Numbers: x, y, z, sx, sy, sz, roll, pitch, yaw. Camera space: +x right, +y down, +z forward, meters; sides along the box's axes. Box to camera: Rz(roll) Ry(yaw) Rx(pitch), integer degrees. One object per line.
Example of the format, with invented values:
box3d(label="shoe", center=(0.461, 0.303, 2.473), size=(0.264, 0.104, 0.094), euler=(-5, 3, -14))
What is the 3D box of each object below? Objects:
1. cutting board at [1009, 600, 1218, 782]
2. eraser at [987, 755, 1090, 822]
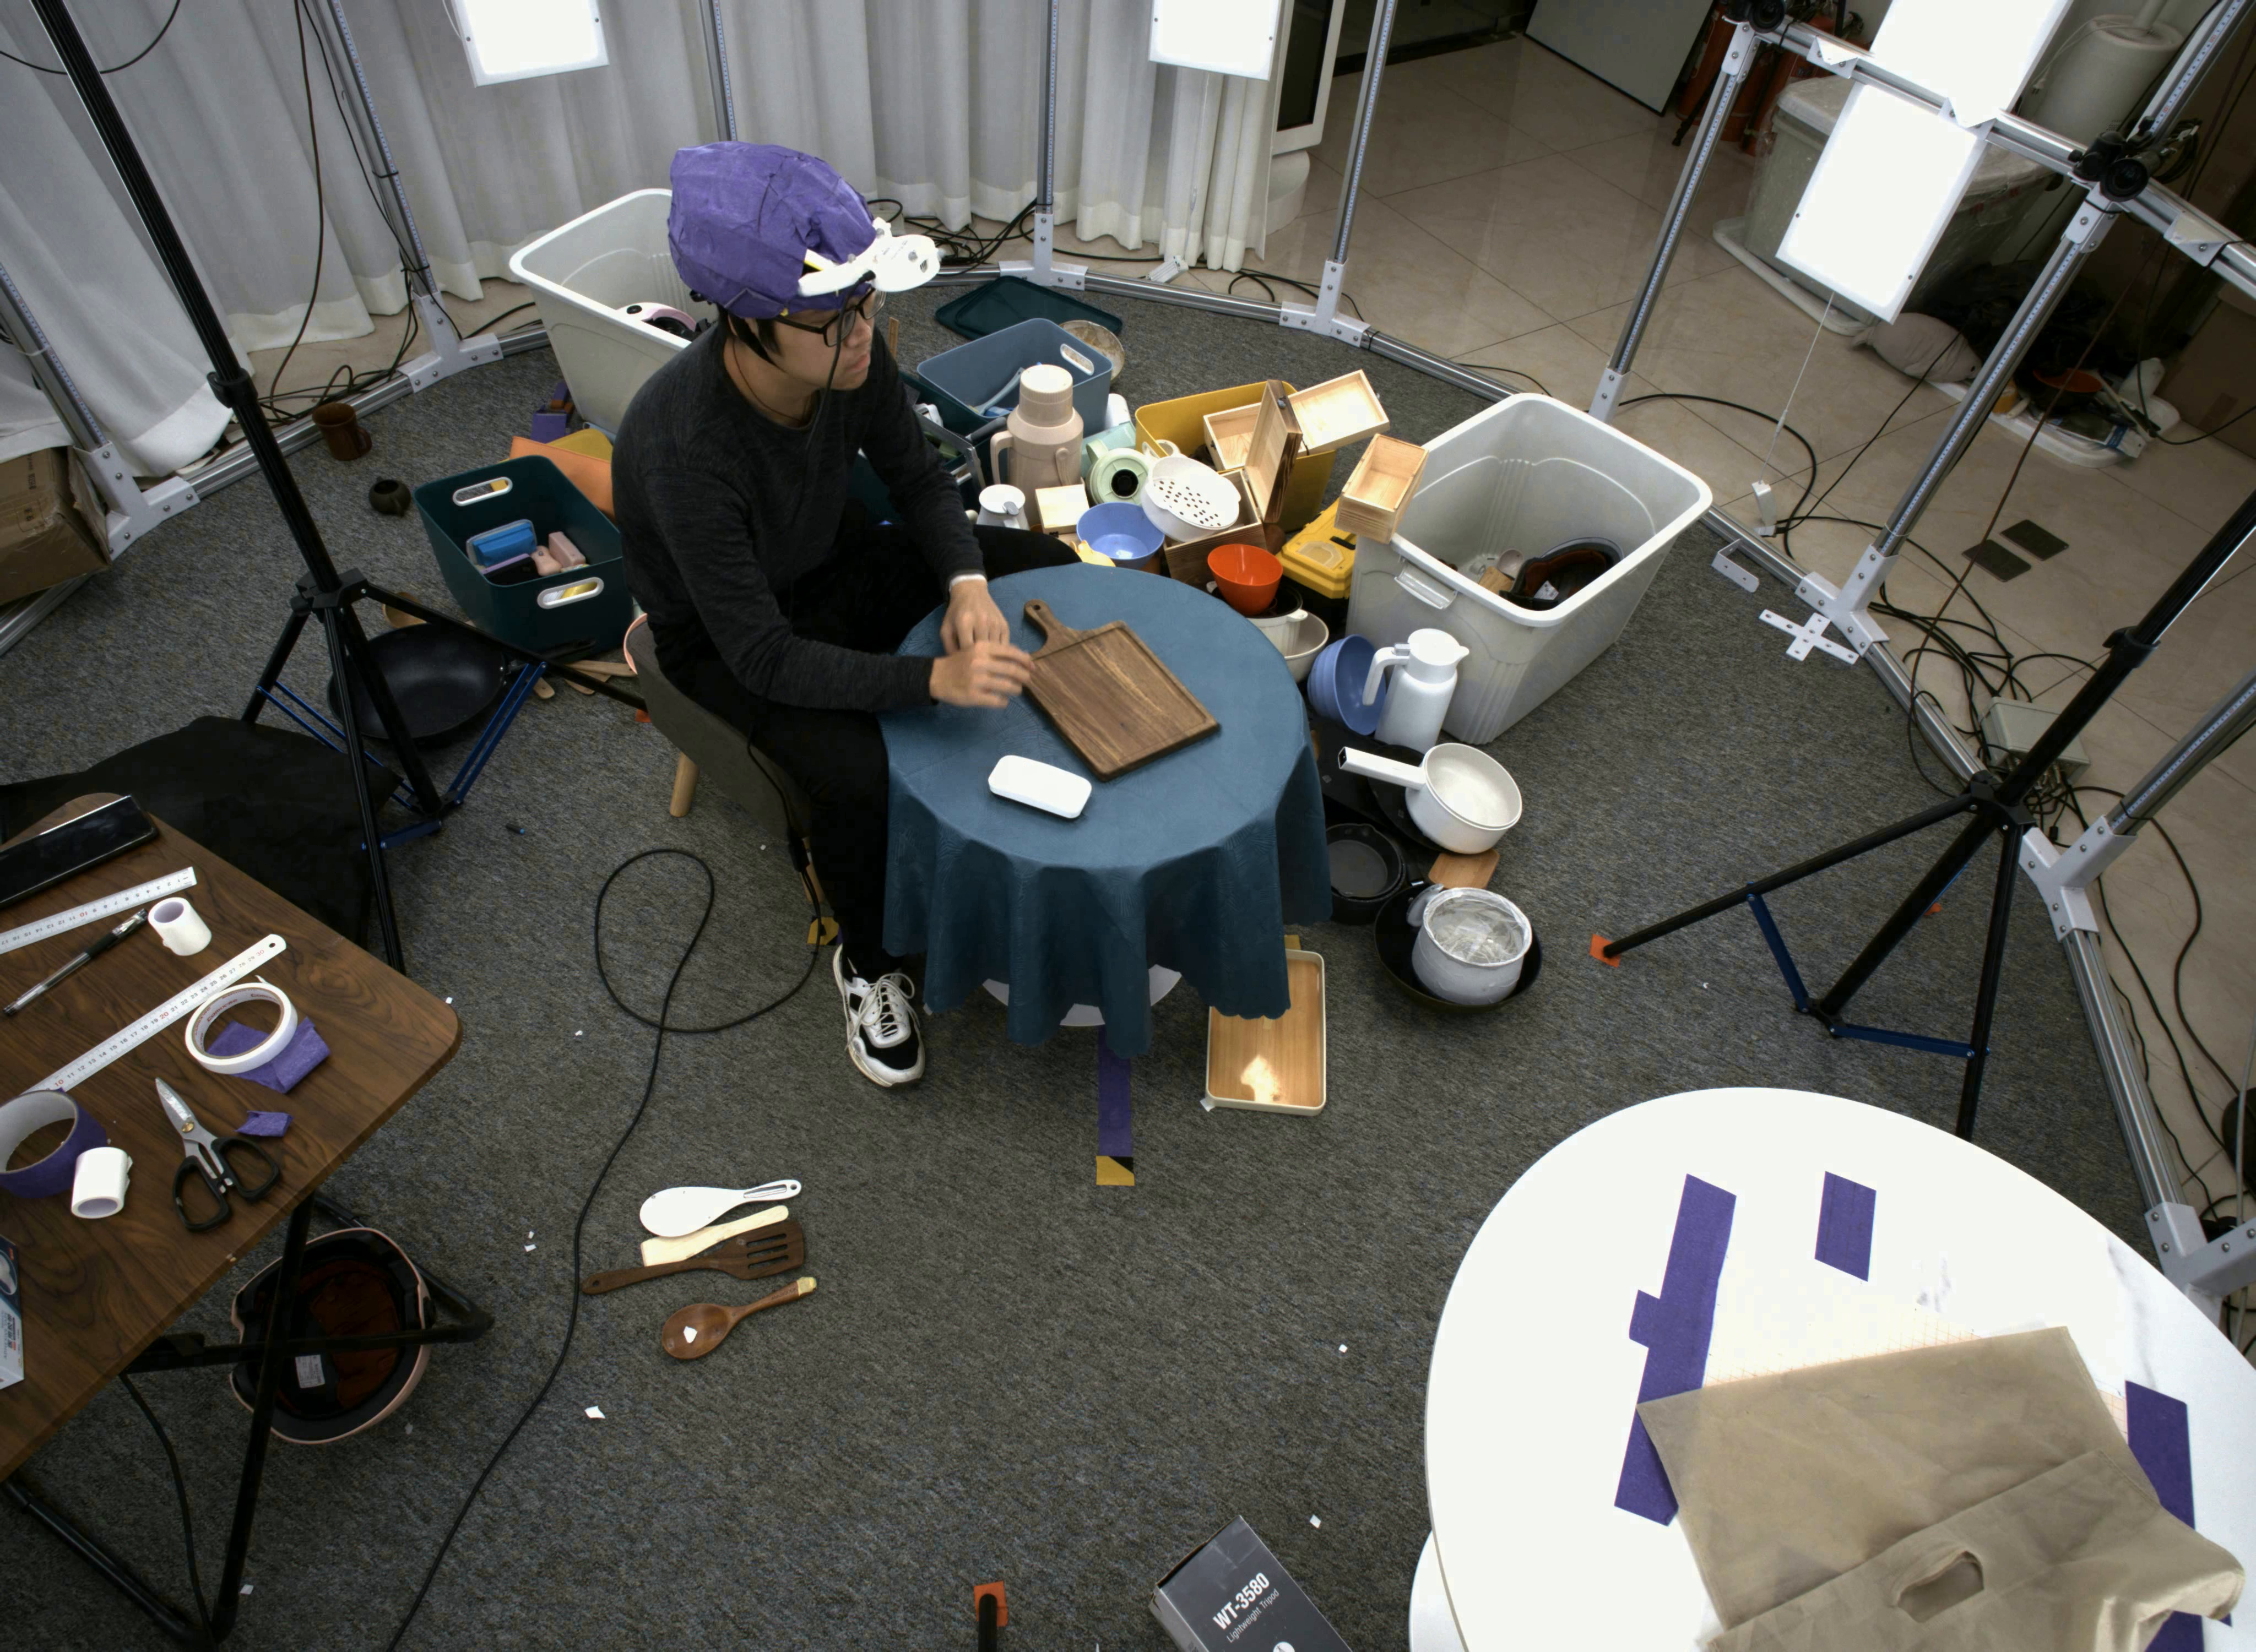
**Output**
box3d(label="cutting board", center=(-0.050, -0.216, 1.840), size=(0.202, 0.022, 0.359), euler=(-25, 55, -23))
box3d(label="eraser", center=(-0.117, -0.052, 1.687), size=(0.132, 0.034, 0.064), euler=(20, 52, 12))
